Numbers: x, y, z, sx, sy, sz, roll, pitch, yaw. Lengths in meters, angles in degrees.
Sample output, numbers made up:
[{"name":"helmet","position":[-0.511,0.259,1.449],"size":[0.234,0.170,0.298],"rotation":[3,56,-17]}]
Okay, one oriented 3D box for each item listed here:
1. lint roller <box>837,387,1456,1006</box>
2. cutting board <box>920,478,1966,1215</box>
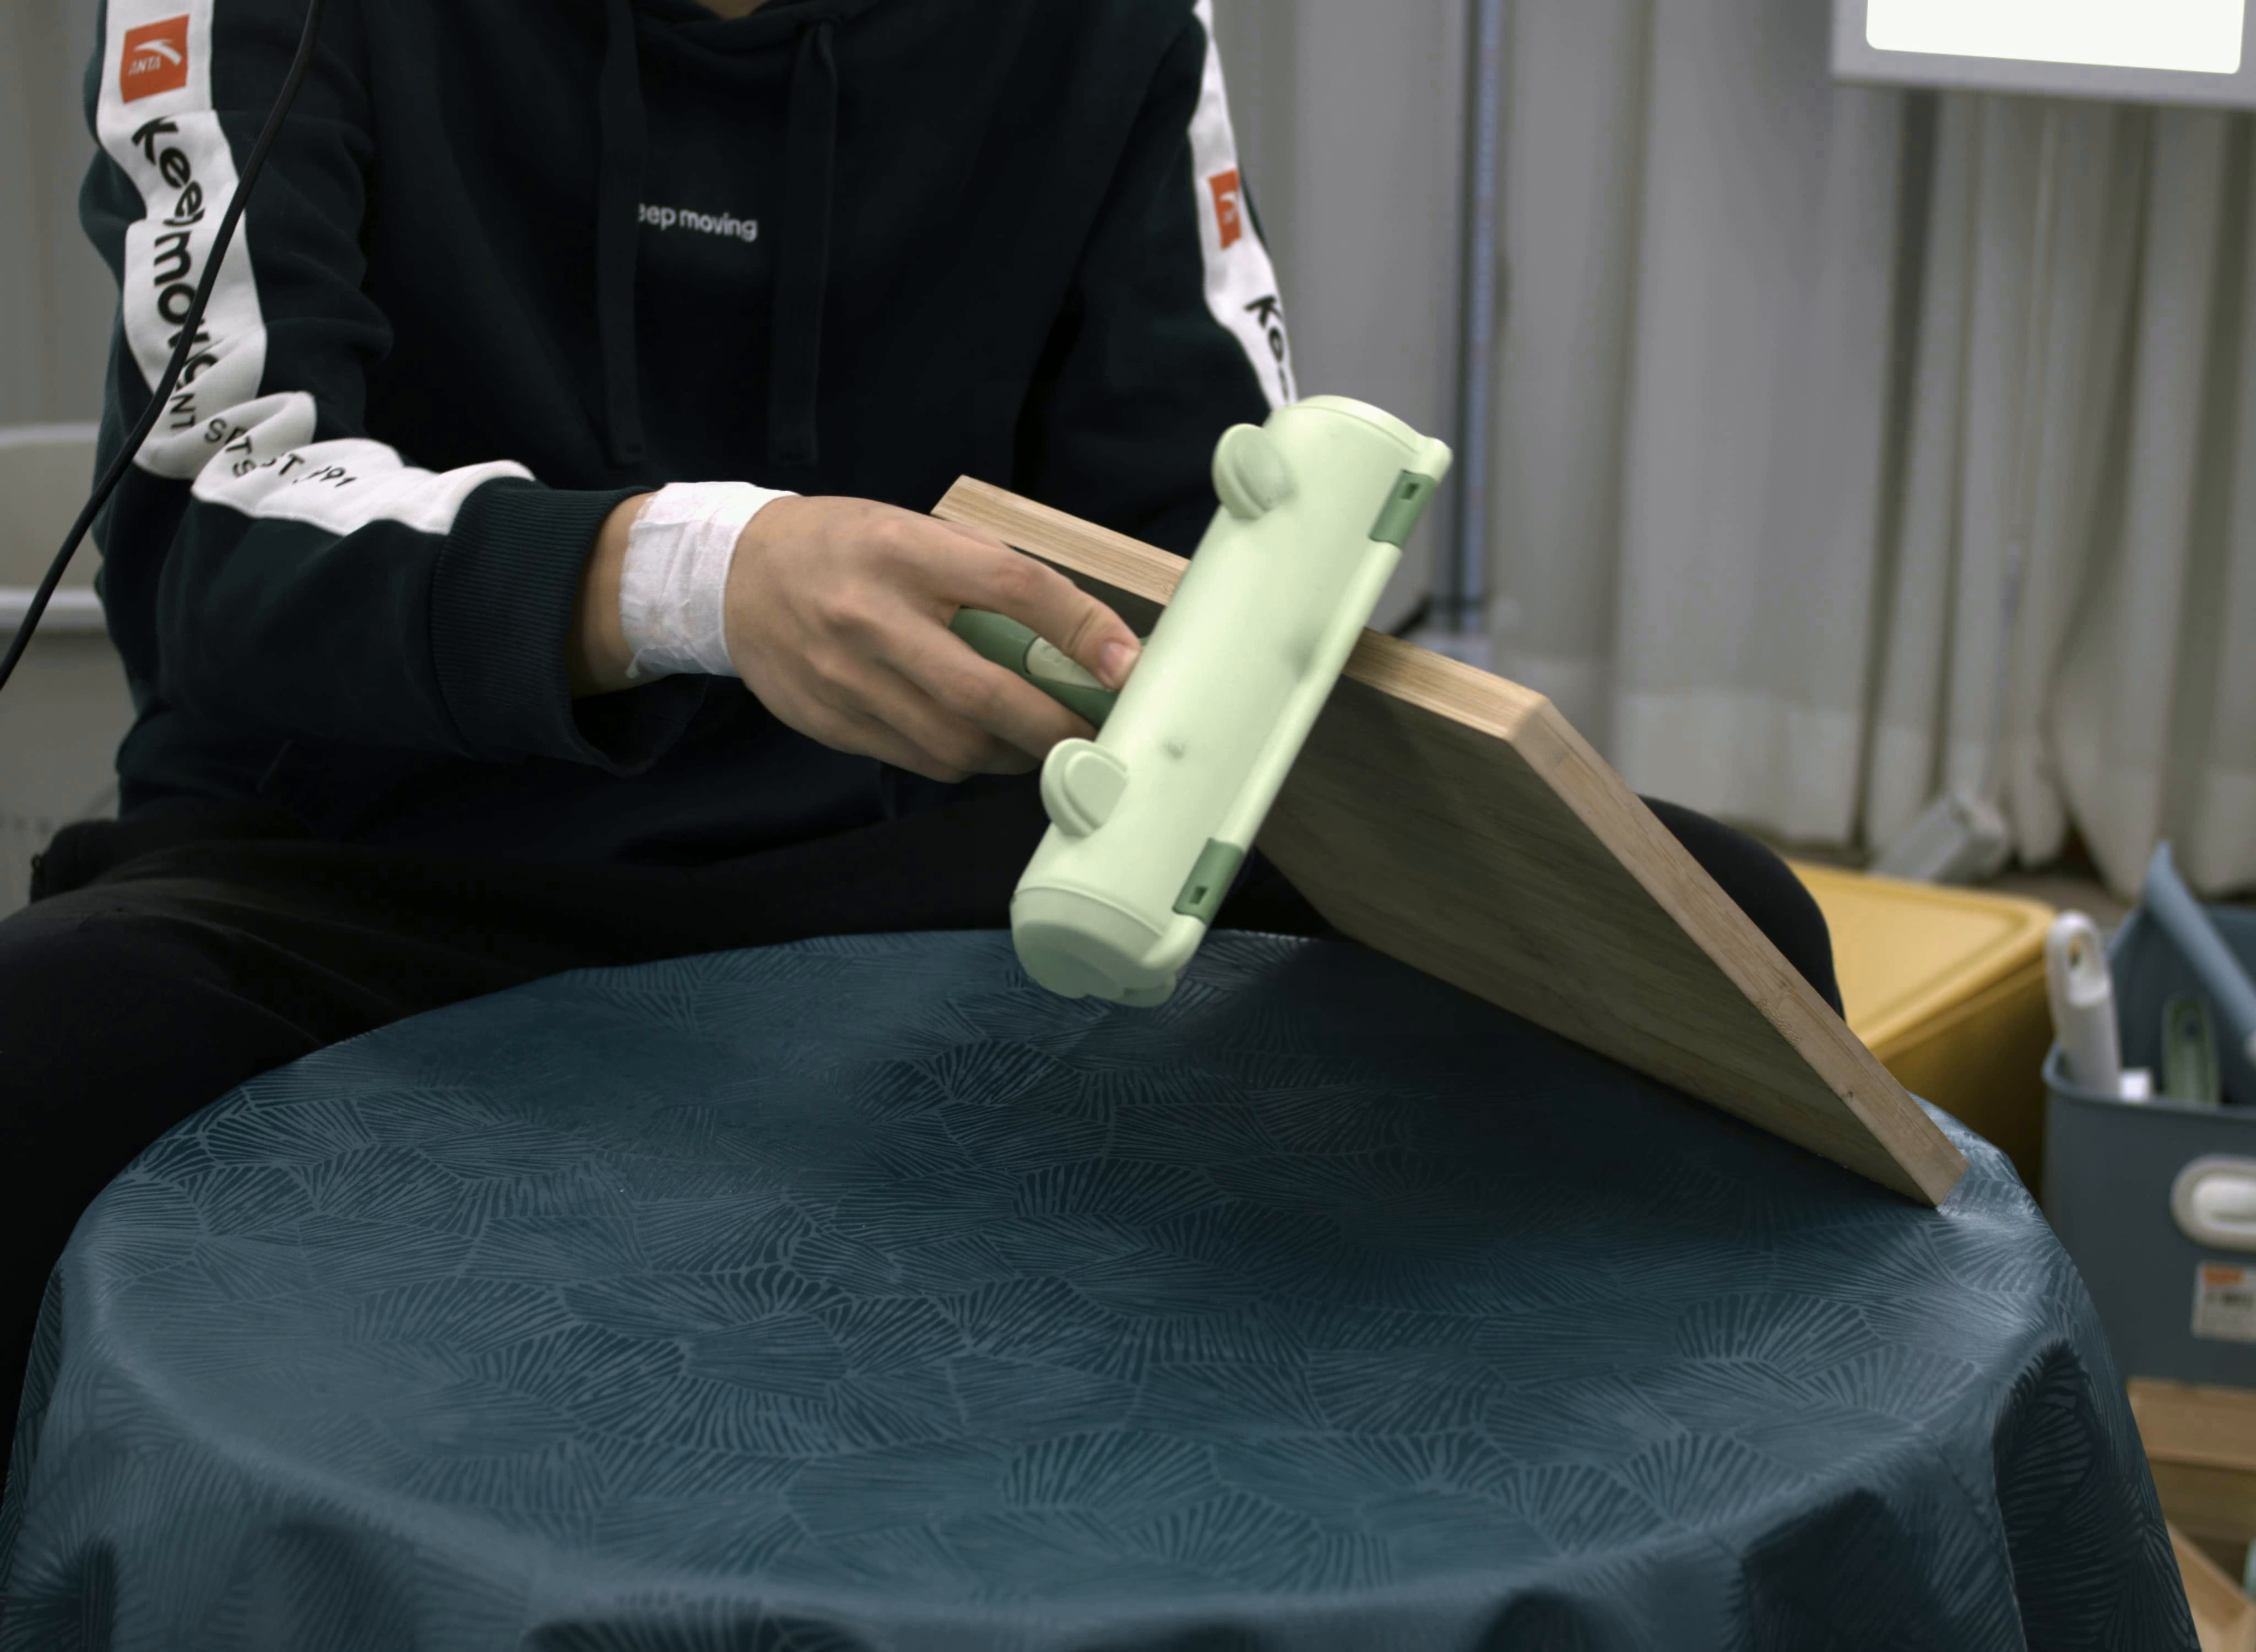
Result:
[{"name":"lint roller","position":[-0.019,-0.054,1.542],"size":[0.181,0.083,0.198],"rotation":[14,61,29]},{"name":"cutting board","position":[0.093,0.001,1.685],"size":[0.023,0.254,0.344],"rotation":[-51,34,-10]}]
